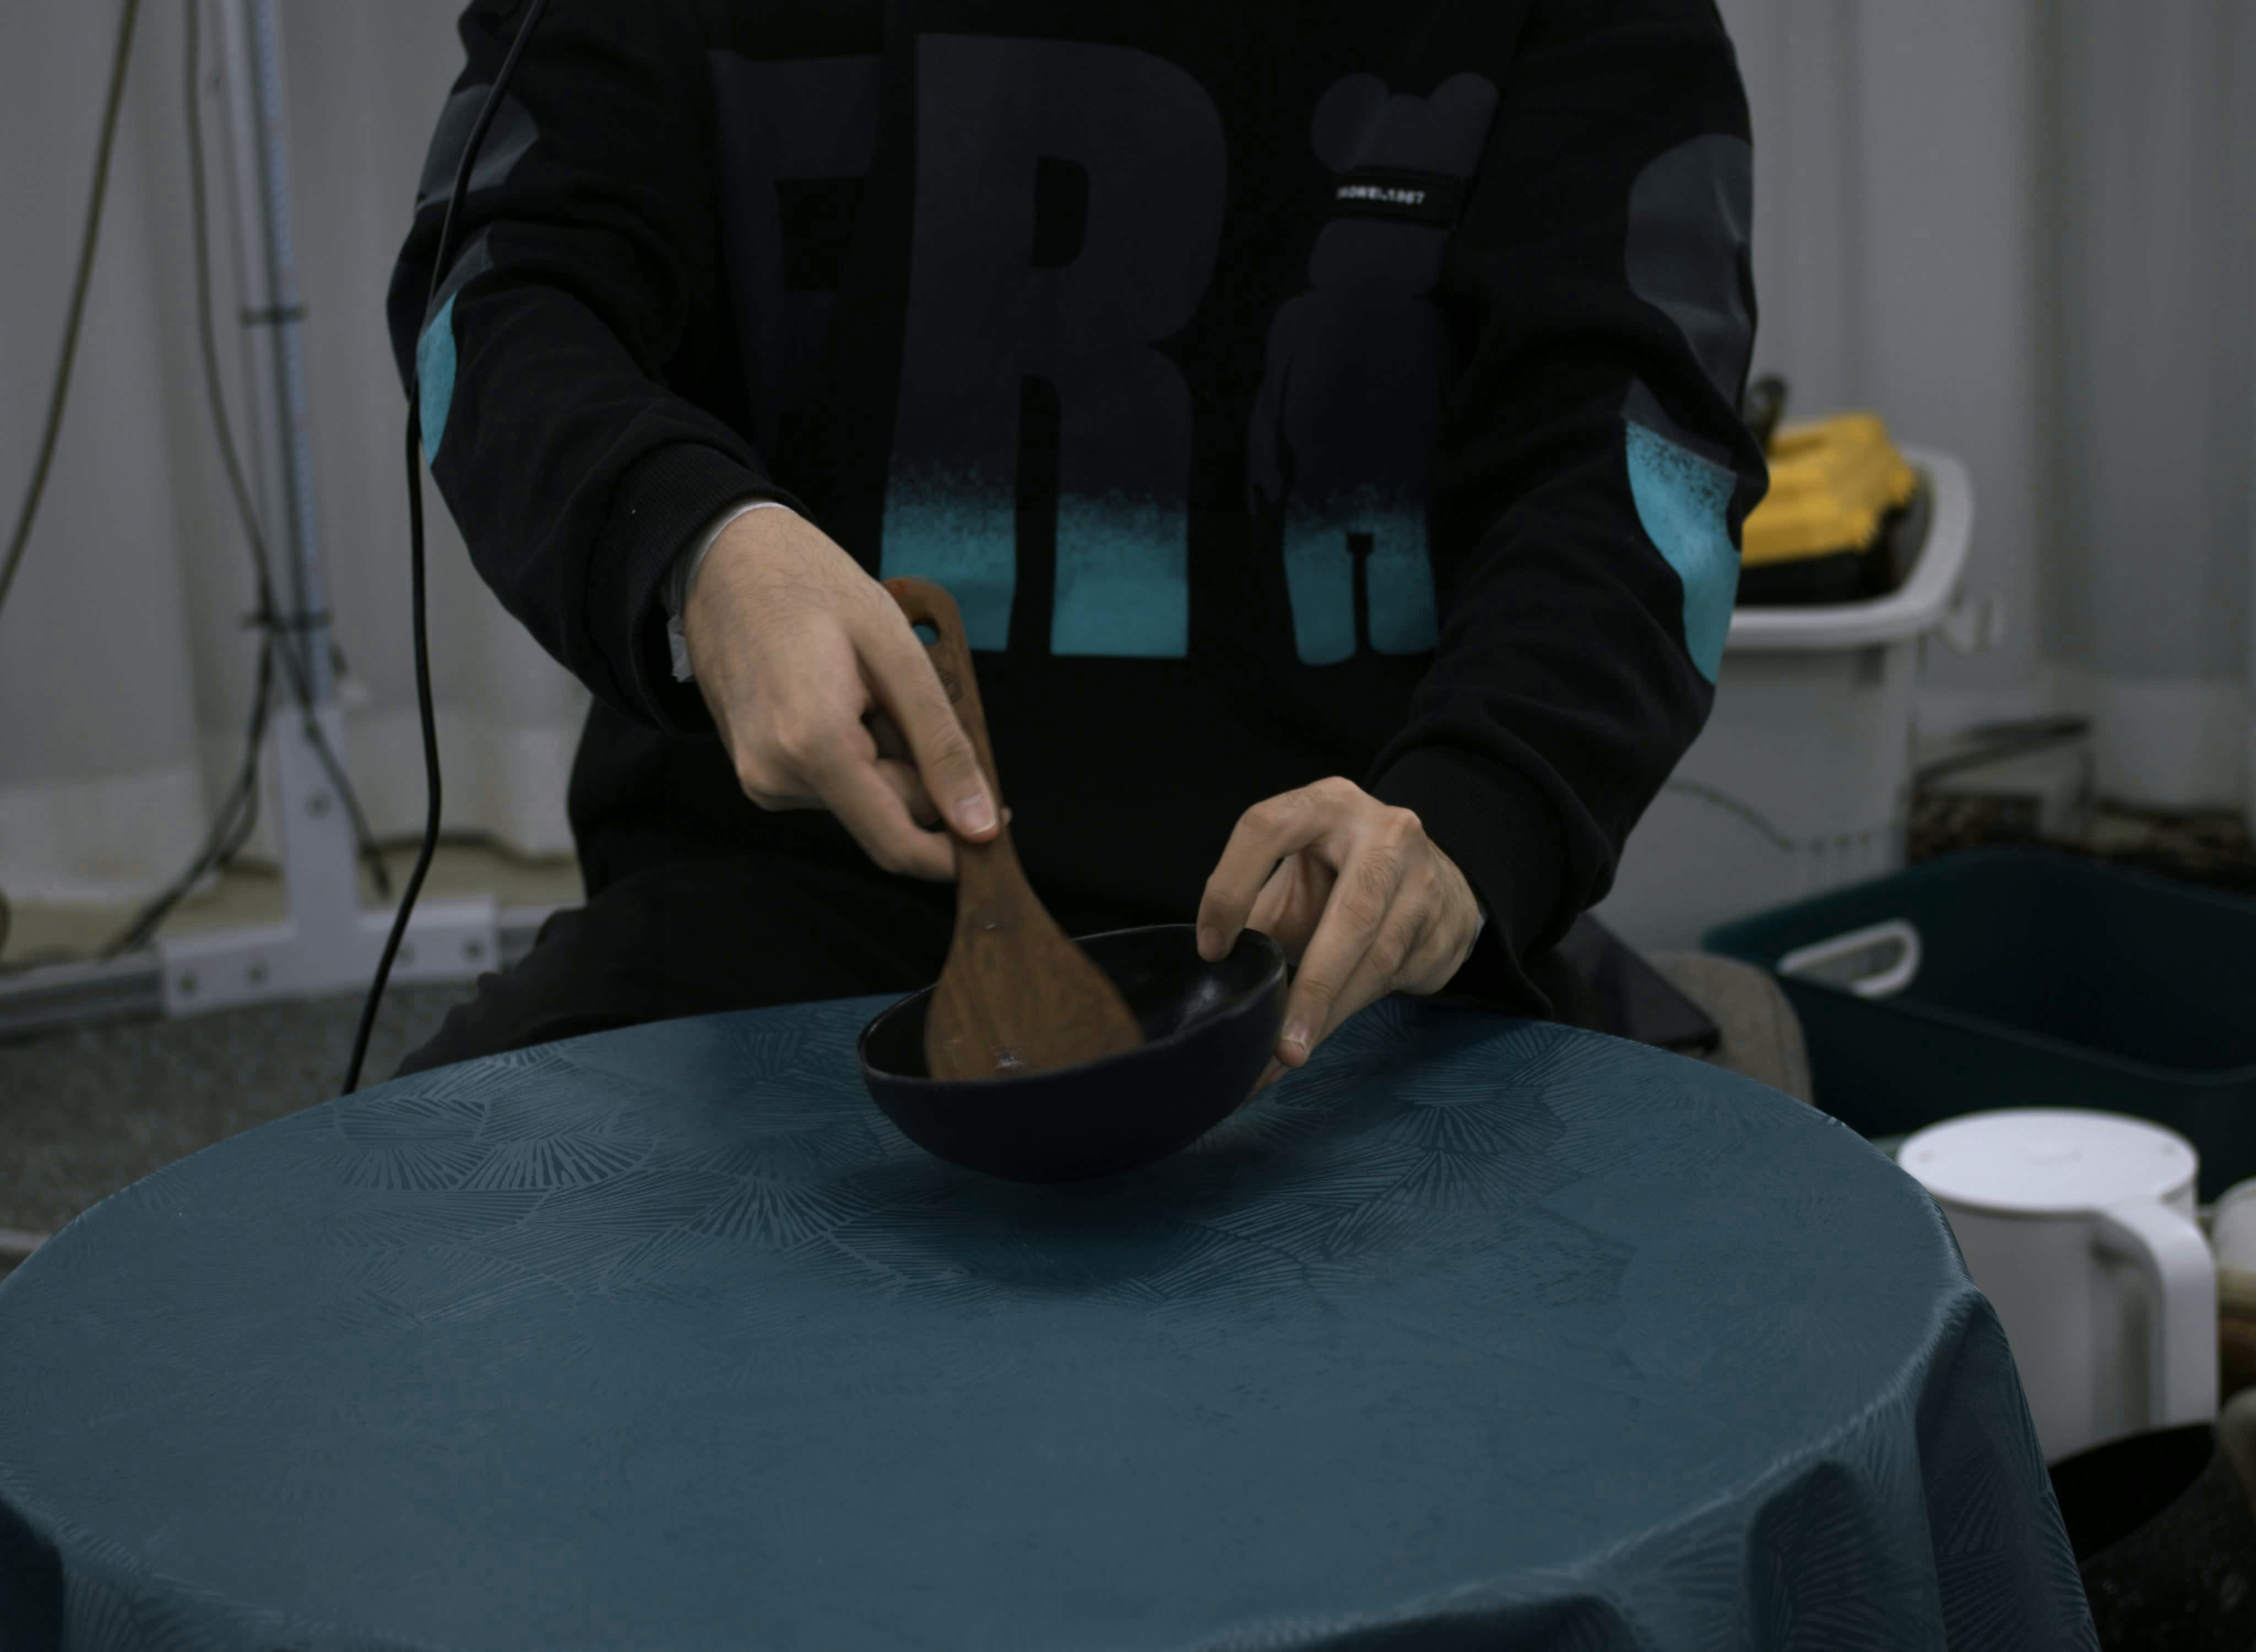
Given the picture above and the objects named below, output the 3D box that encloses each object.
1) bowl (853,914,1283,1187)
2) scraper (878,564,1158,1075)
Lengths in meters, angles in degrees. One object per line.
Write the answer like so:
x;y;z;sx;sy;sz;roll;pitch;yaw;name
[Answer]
-0.013;0.076;1.707;0.139;0.049;0.141;-15;14;4;bowl
-0.042;0.008;1.735;0.075;0.214;0.011;-6;-27;-22;scraper
